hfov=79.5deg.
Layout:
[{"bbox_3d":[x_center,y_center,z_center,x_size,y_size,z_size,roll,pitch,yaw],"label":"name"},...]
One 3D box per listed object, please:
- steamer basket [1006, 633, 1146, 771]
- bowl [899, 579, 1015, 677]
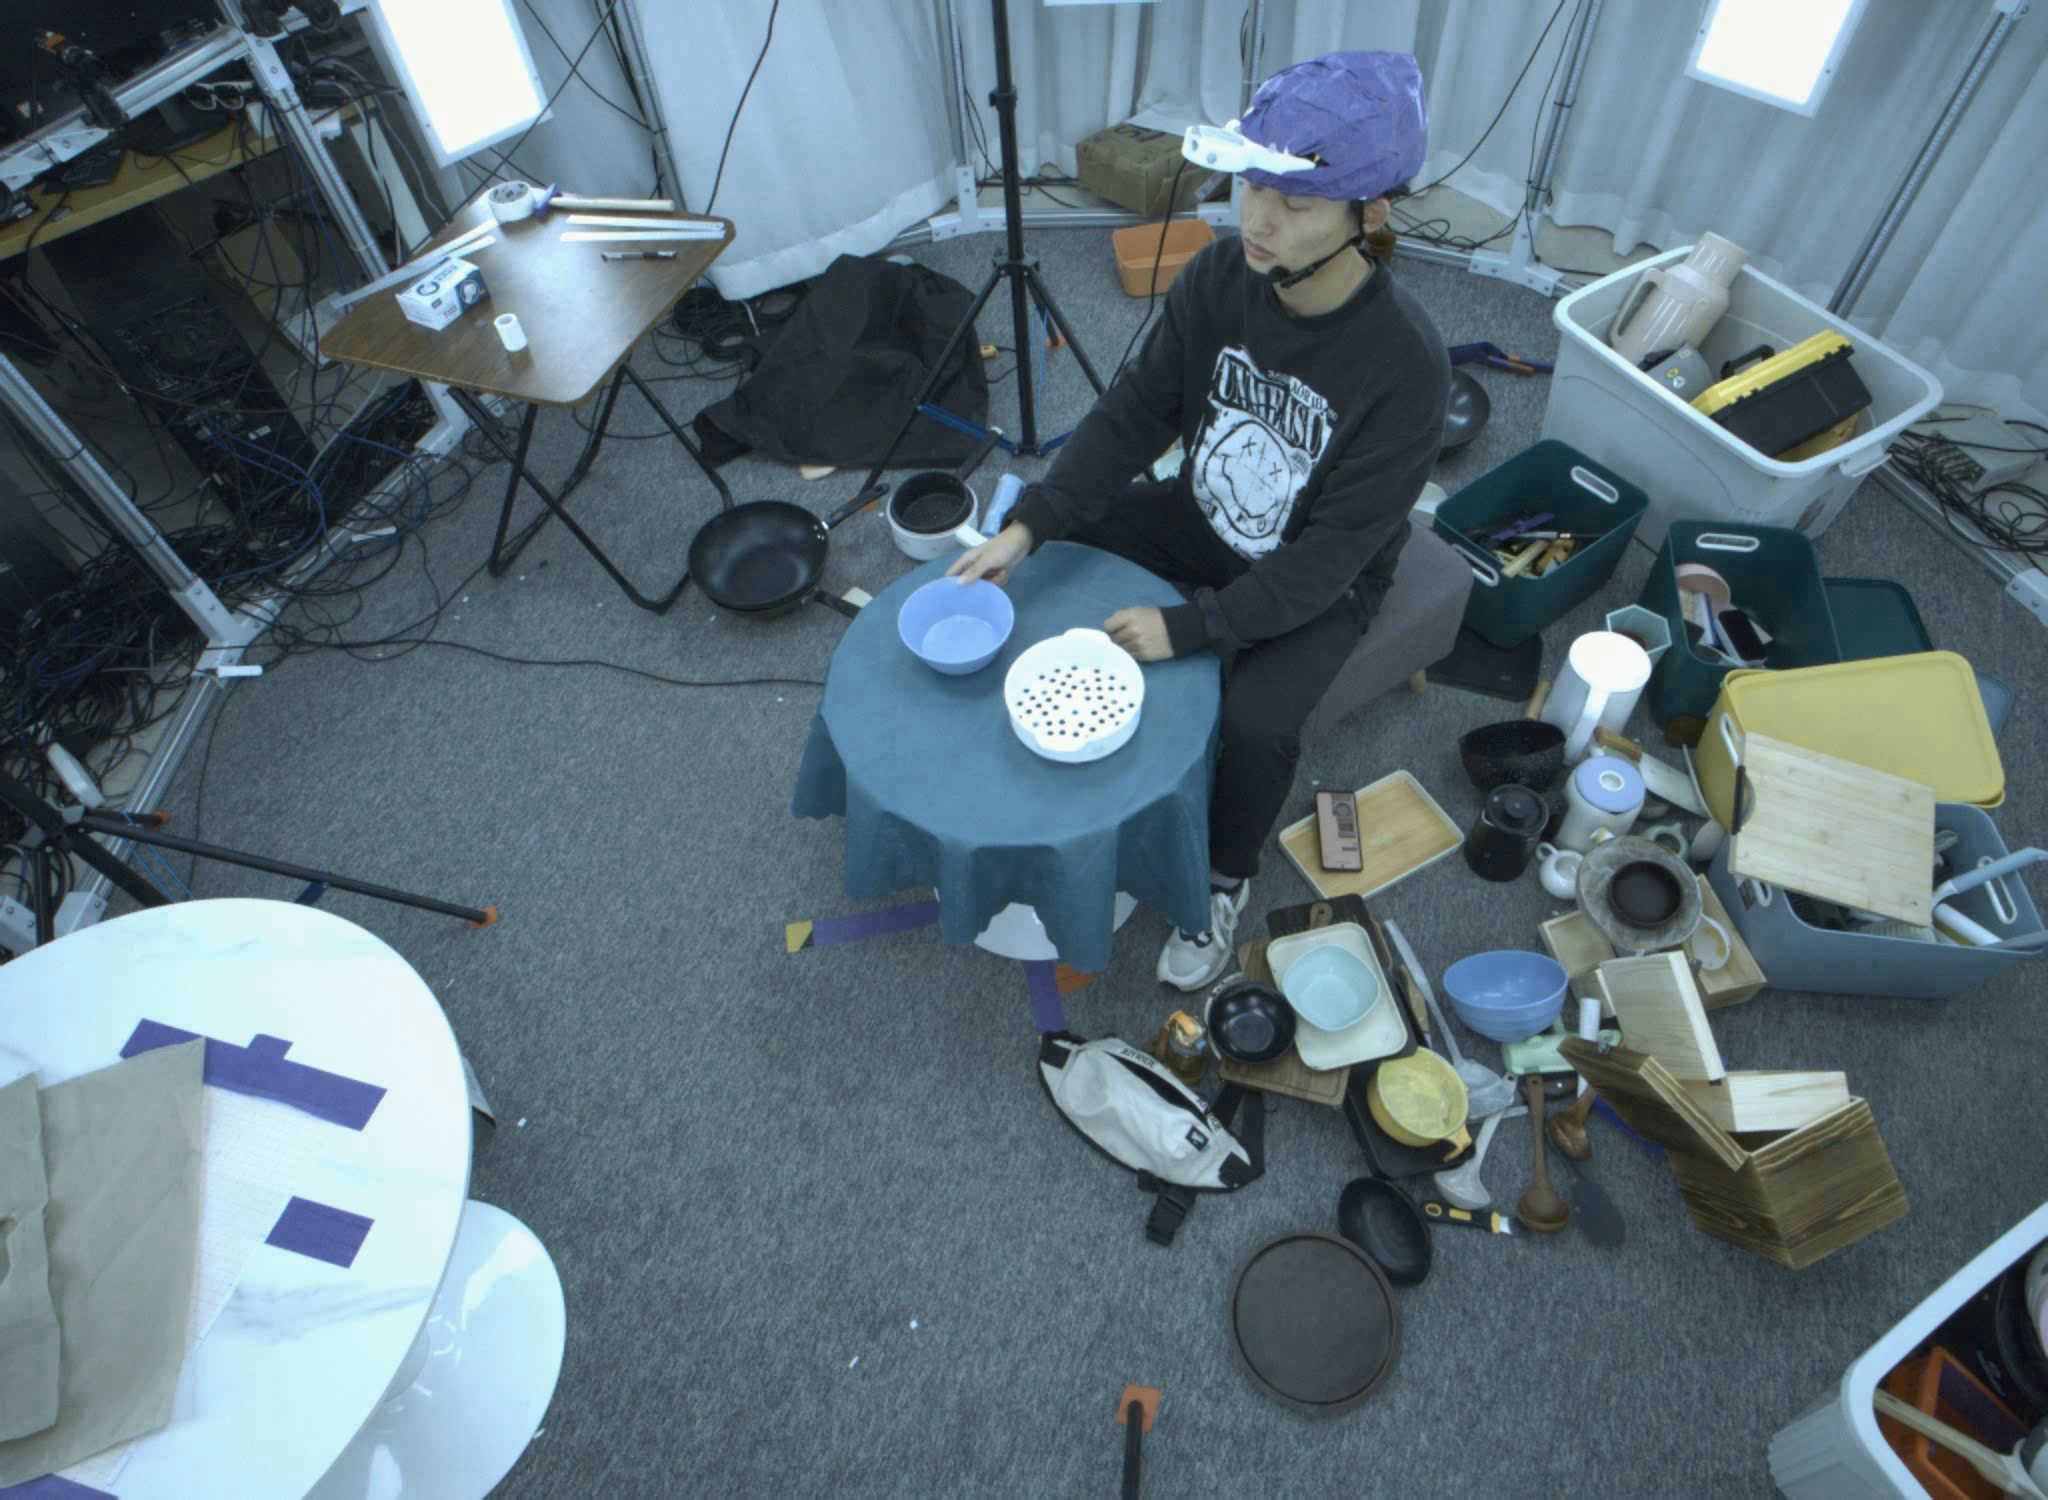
[{"bbox_3d":[0.077,-0.064,1.799,0.201,0.070,0.229,9,58,8],"label":"steamer basket"},{"bbox_3d":[-0.101,-0.177,1.882,0.176,0.071,0.174,0,55,1],"label":"bowl"}]
